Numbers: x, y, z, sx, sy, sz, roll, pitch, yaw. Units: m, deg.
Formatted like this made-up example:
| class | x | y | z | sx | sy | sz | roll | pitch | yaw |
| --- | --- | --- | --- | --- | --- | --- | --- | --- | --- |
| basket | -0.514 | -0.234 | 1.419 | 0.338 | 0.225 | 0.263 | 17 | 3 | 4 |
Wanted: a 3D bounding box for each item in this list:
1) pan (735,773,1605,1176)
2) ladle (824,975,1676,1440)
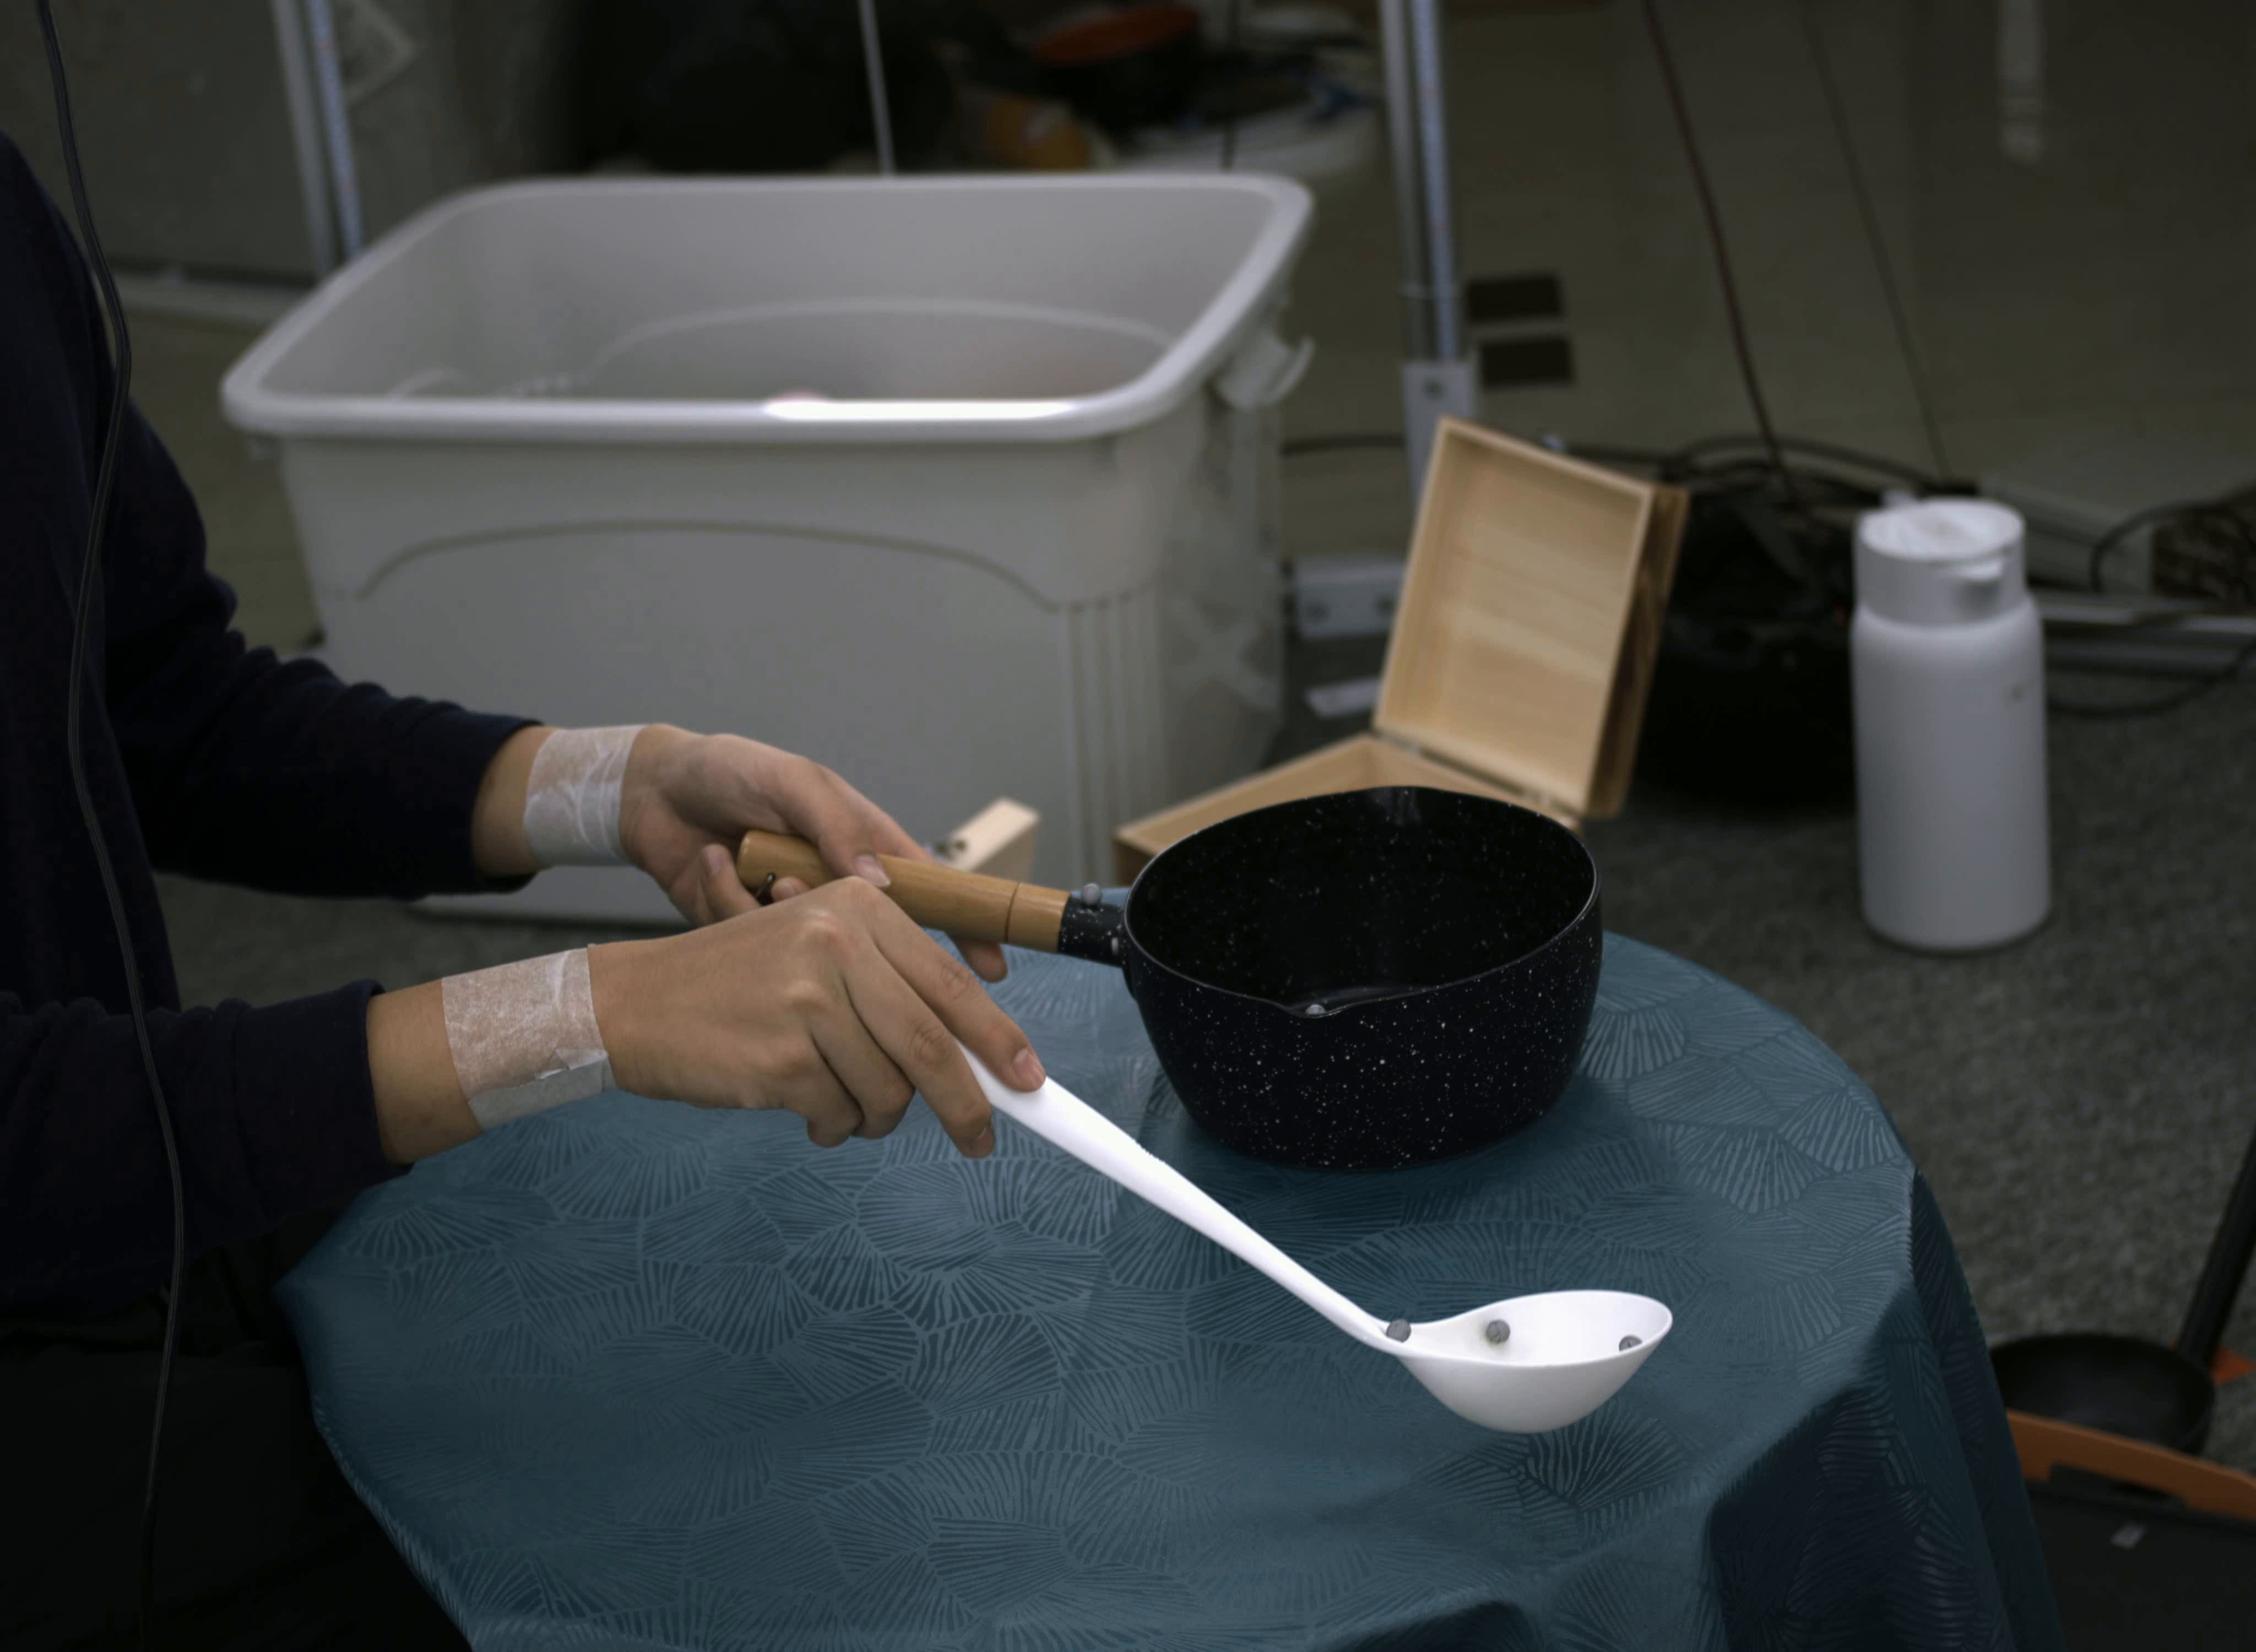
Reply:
| class | x | y | z | sx | sy | sz | roll | pitch | yaw |
| --- | --- | --- | --- | --- | --- | --- | --- | --- | --- |
| pan | 0.015 | 0.052 | 2.199 | 0.342 | 0.110 | 0.204 | 1 | 27 | 12 |
| ladle | 0.041 | 0.120 | 1.902 | 0.293 | 0.071 | 0.089 | 30 | 21 | -2 |
